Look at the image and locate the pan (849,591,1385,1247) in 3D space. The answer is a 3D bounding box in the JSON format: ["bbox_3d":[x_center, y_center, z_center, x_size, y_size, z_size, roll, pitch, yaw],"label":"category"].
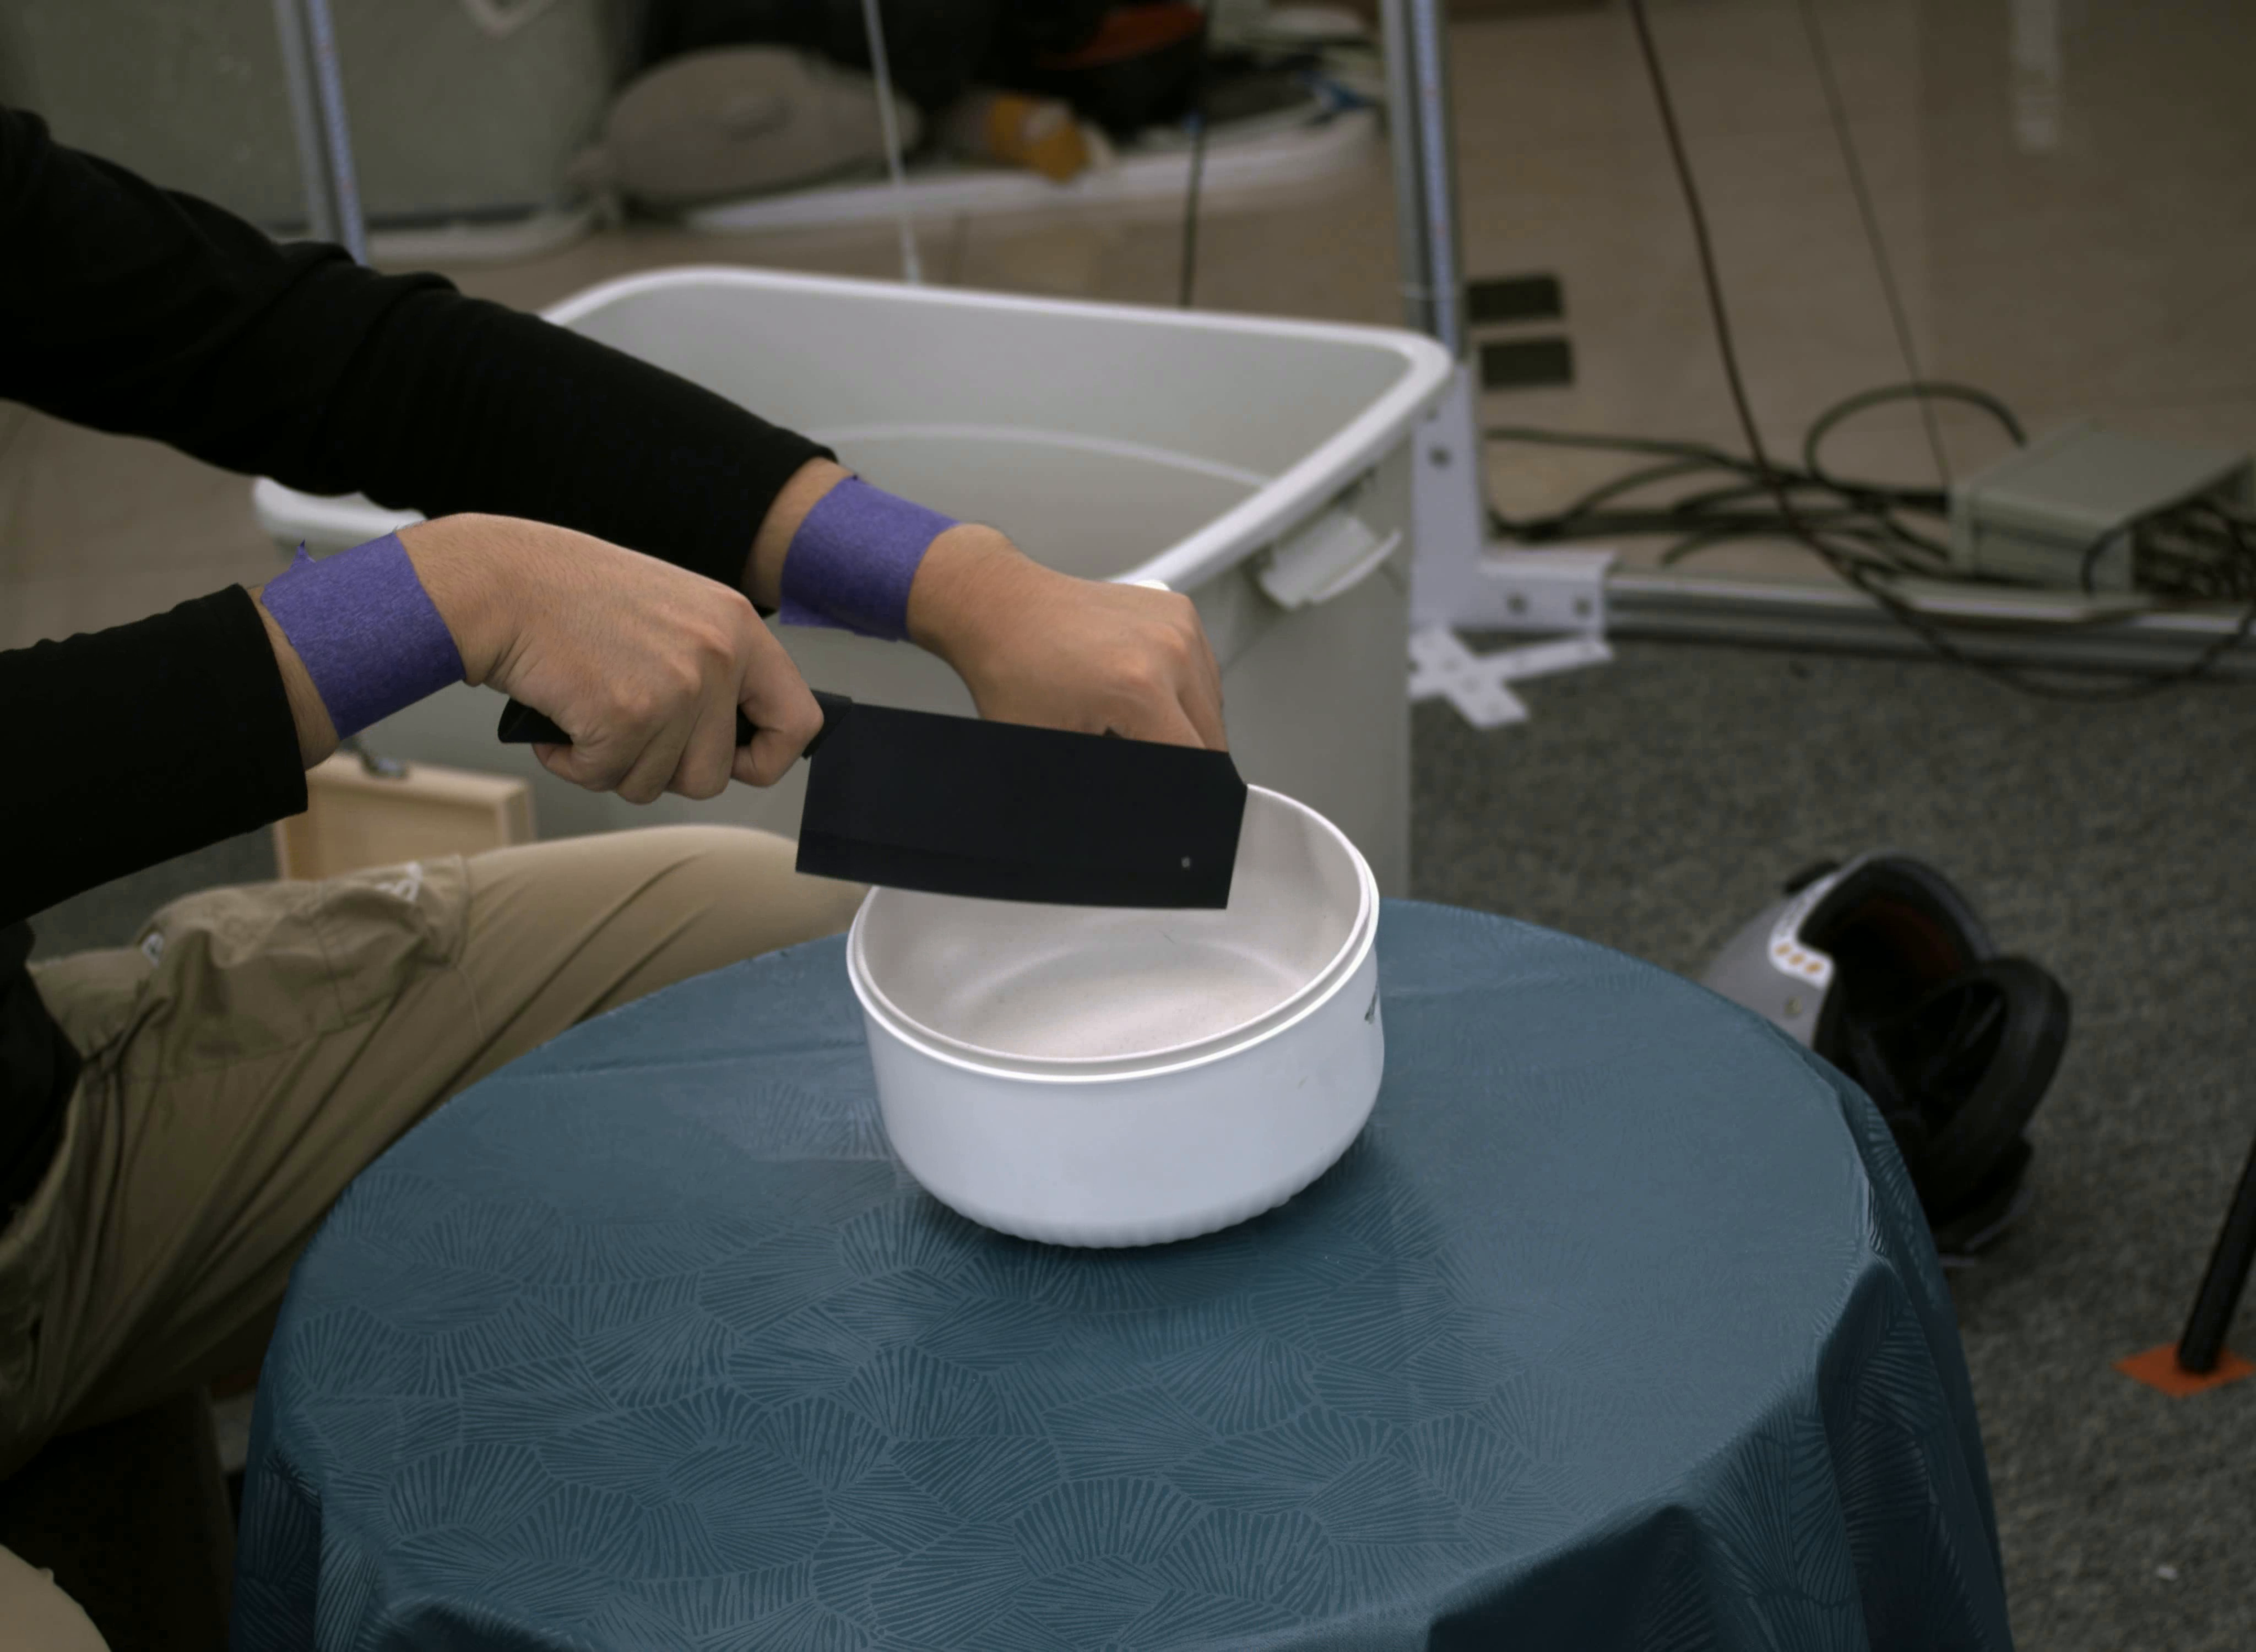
[{"bbox_3d":[0.002,0.035,2.216,0.201,0.104,0.349,-5,32,5],"label":"pan"}]

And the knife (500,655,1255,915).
[{"bbox_3d":[-0.088,-0.016,2.076,0.303,0.081,0.021,13,4,-27],"label":"knife"}]
